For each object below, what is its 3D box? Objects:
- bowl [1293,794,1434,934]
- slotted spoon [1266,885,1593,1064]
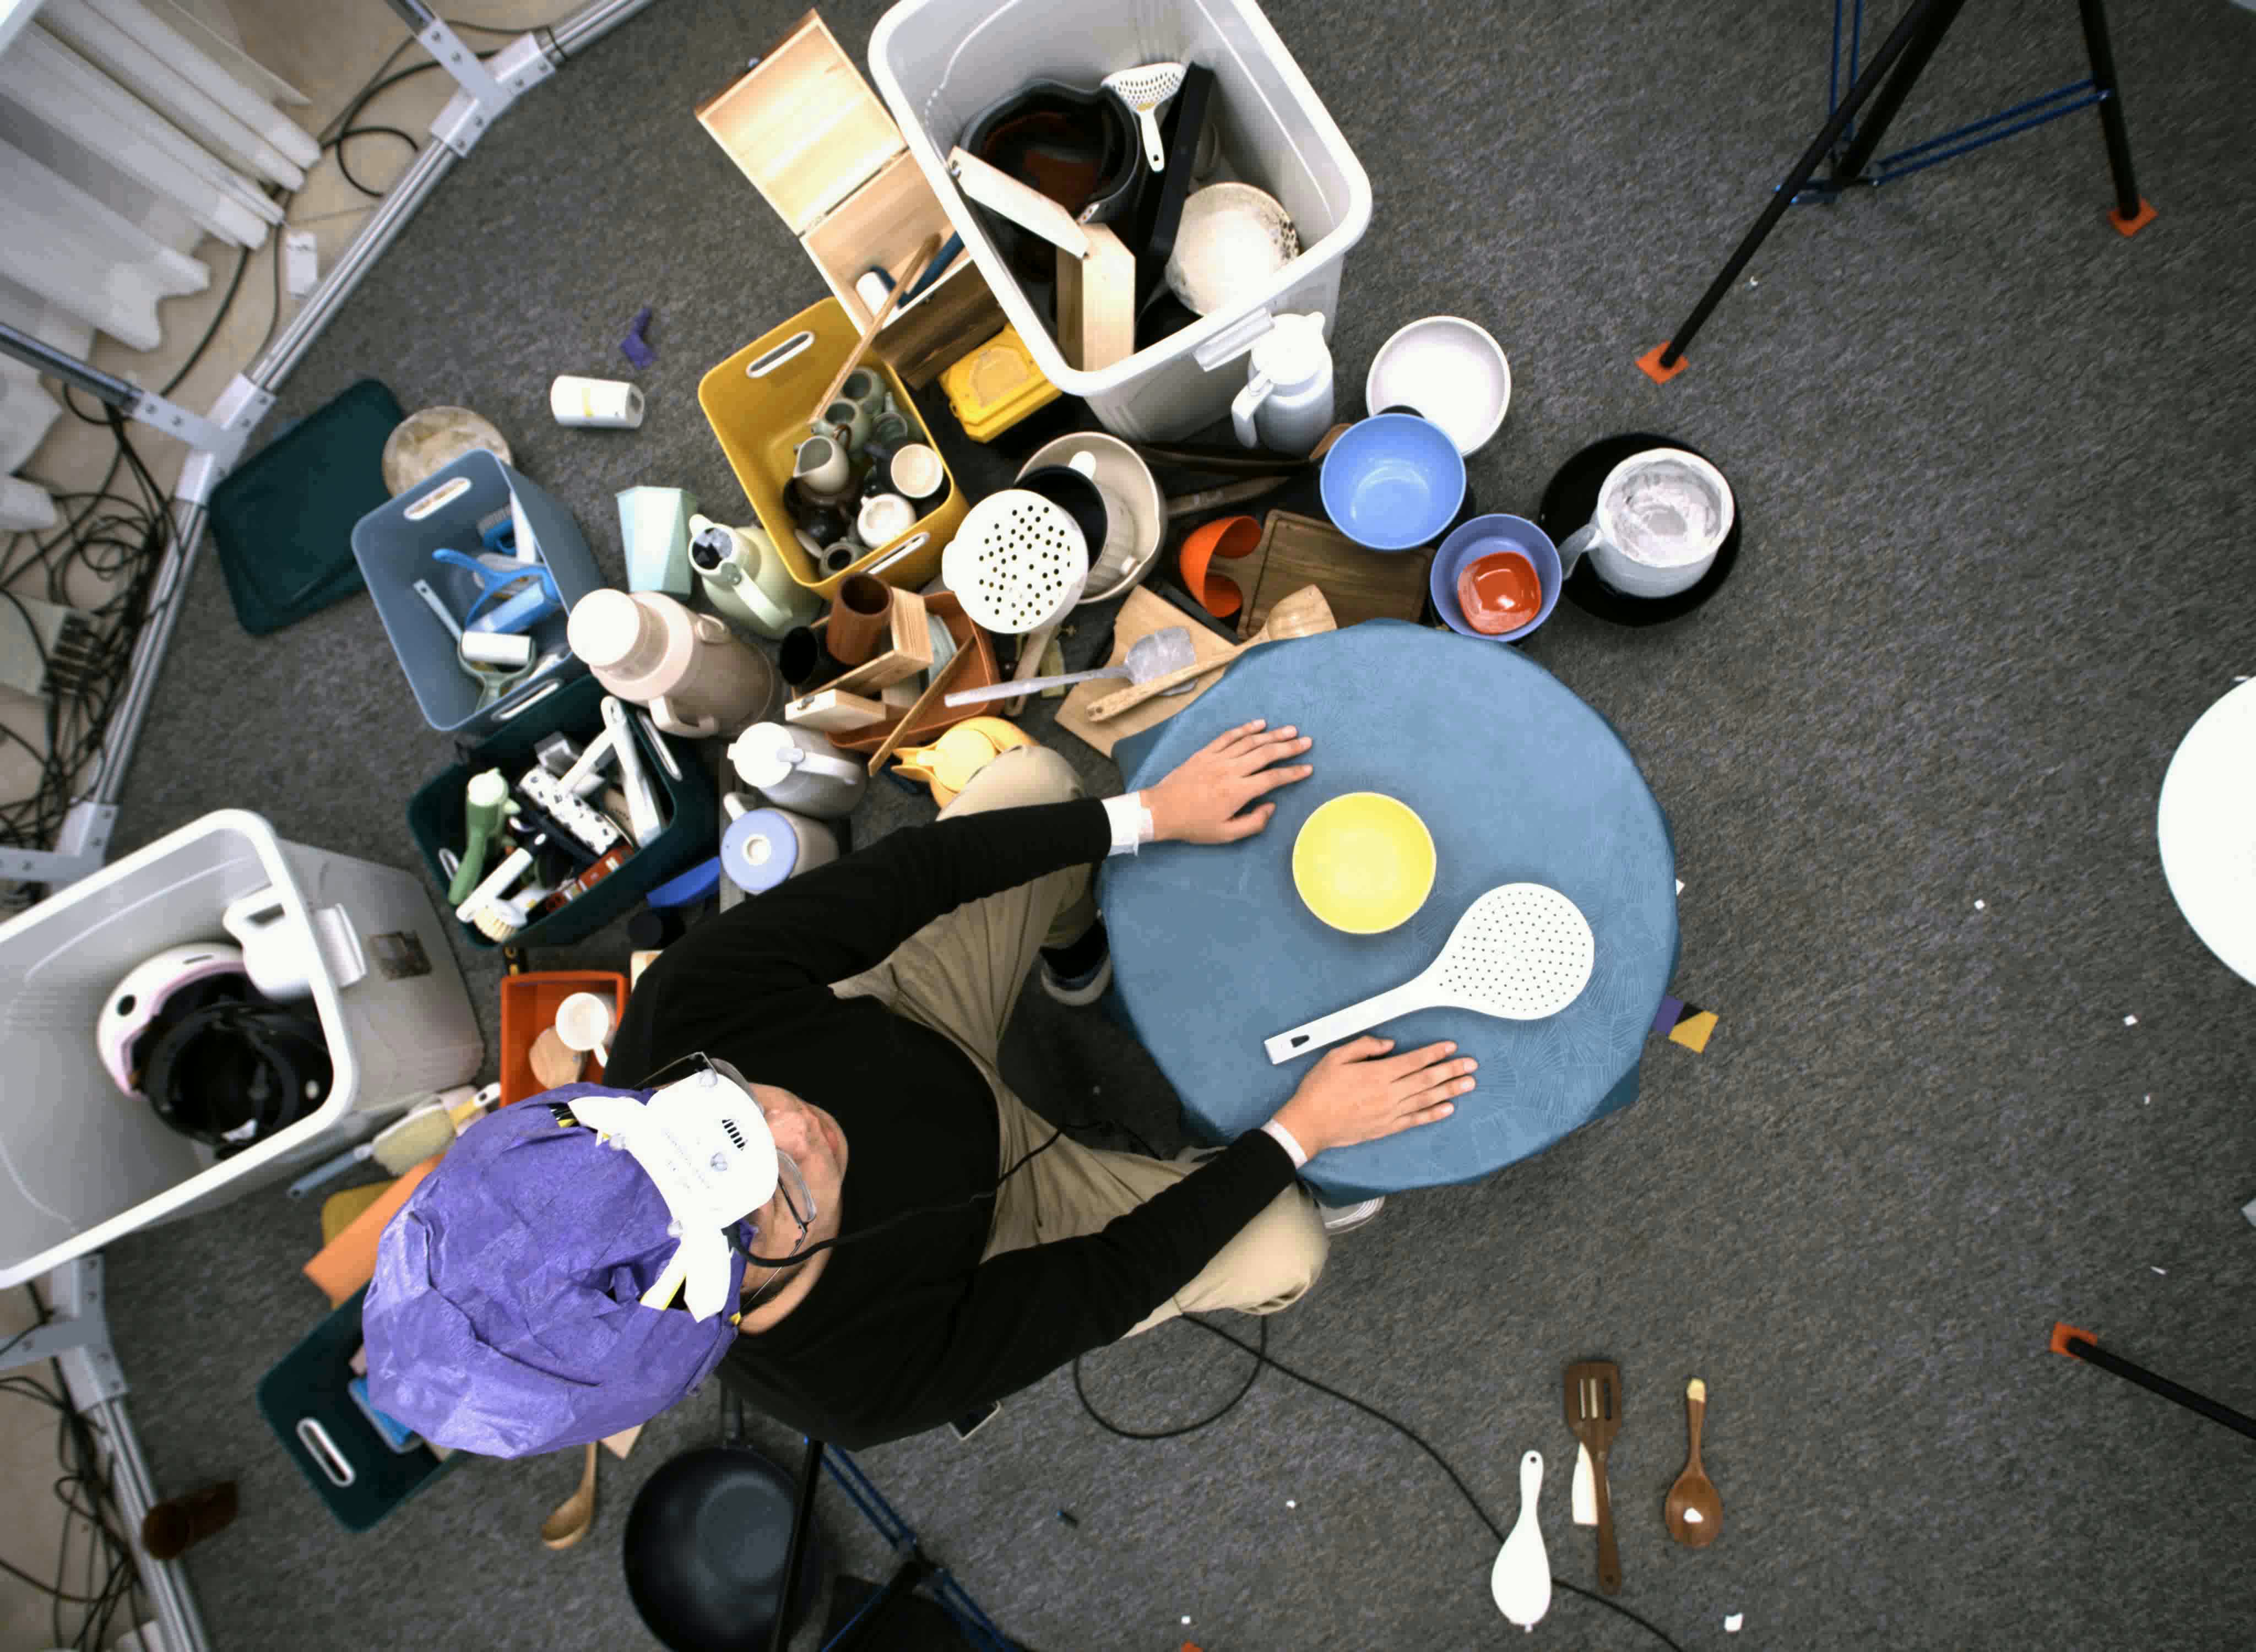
[{"bbox_3d":[0.245,0.041,1.438,0.146,0.060,0.144,-1,84,11],"label":"bowl"},{"bbox_3d":[0.306,0.169,1.425,0.352,0.046,0.135,-24,82,9],"label":"slotted spoon"}]
